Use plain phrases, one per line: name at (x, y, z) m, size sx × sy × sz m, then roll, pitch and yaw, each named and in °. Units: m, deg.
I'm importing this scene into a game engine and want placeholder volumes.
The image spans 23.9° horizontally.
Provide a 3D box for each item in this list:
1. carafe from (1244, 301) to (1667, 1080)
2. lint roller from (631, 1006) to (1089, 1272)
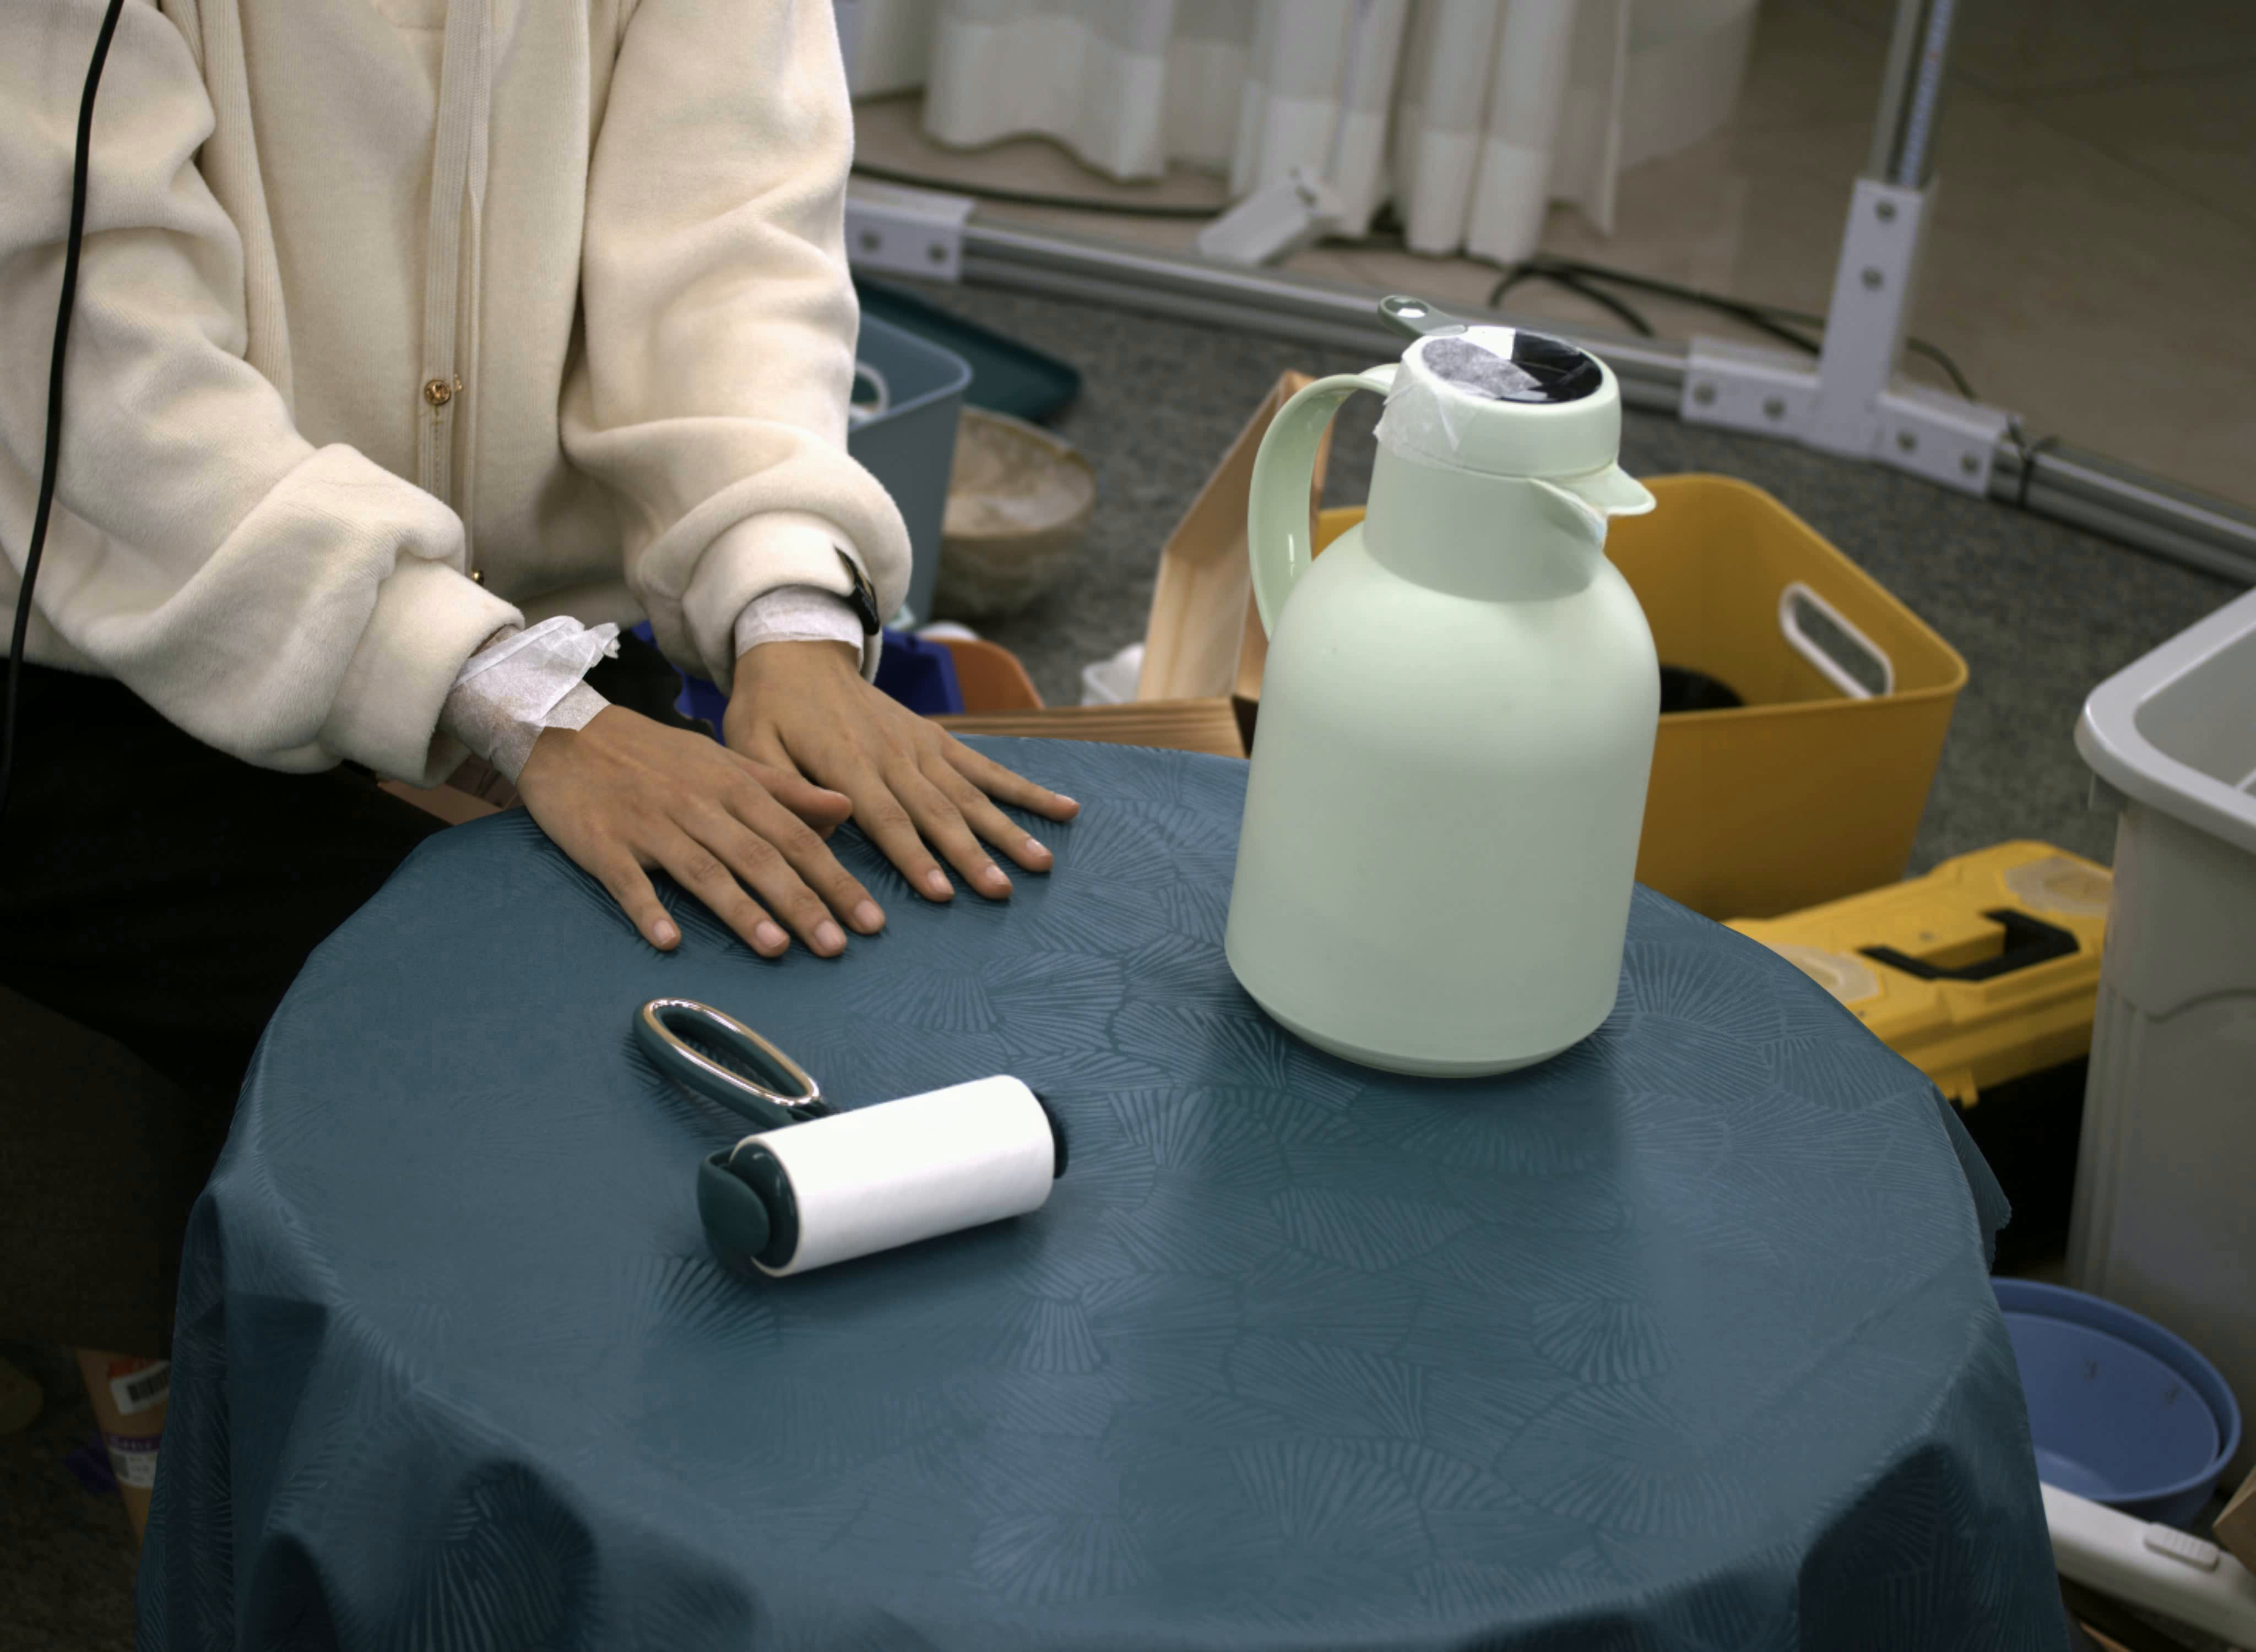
carafe at (0.112, -0.054, 1.901) m, size 0.143 × 0.256 × 0.188 m, roll -16°, pitch 30°, yaw -34°
lint roller at (-0.115, 0.085, 1.799) m, size 0.133 × 0.048 × 0.182 m, roll -11°, pitch 32°, yaw -33°
